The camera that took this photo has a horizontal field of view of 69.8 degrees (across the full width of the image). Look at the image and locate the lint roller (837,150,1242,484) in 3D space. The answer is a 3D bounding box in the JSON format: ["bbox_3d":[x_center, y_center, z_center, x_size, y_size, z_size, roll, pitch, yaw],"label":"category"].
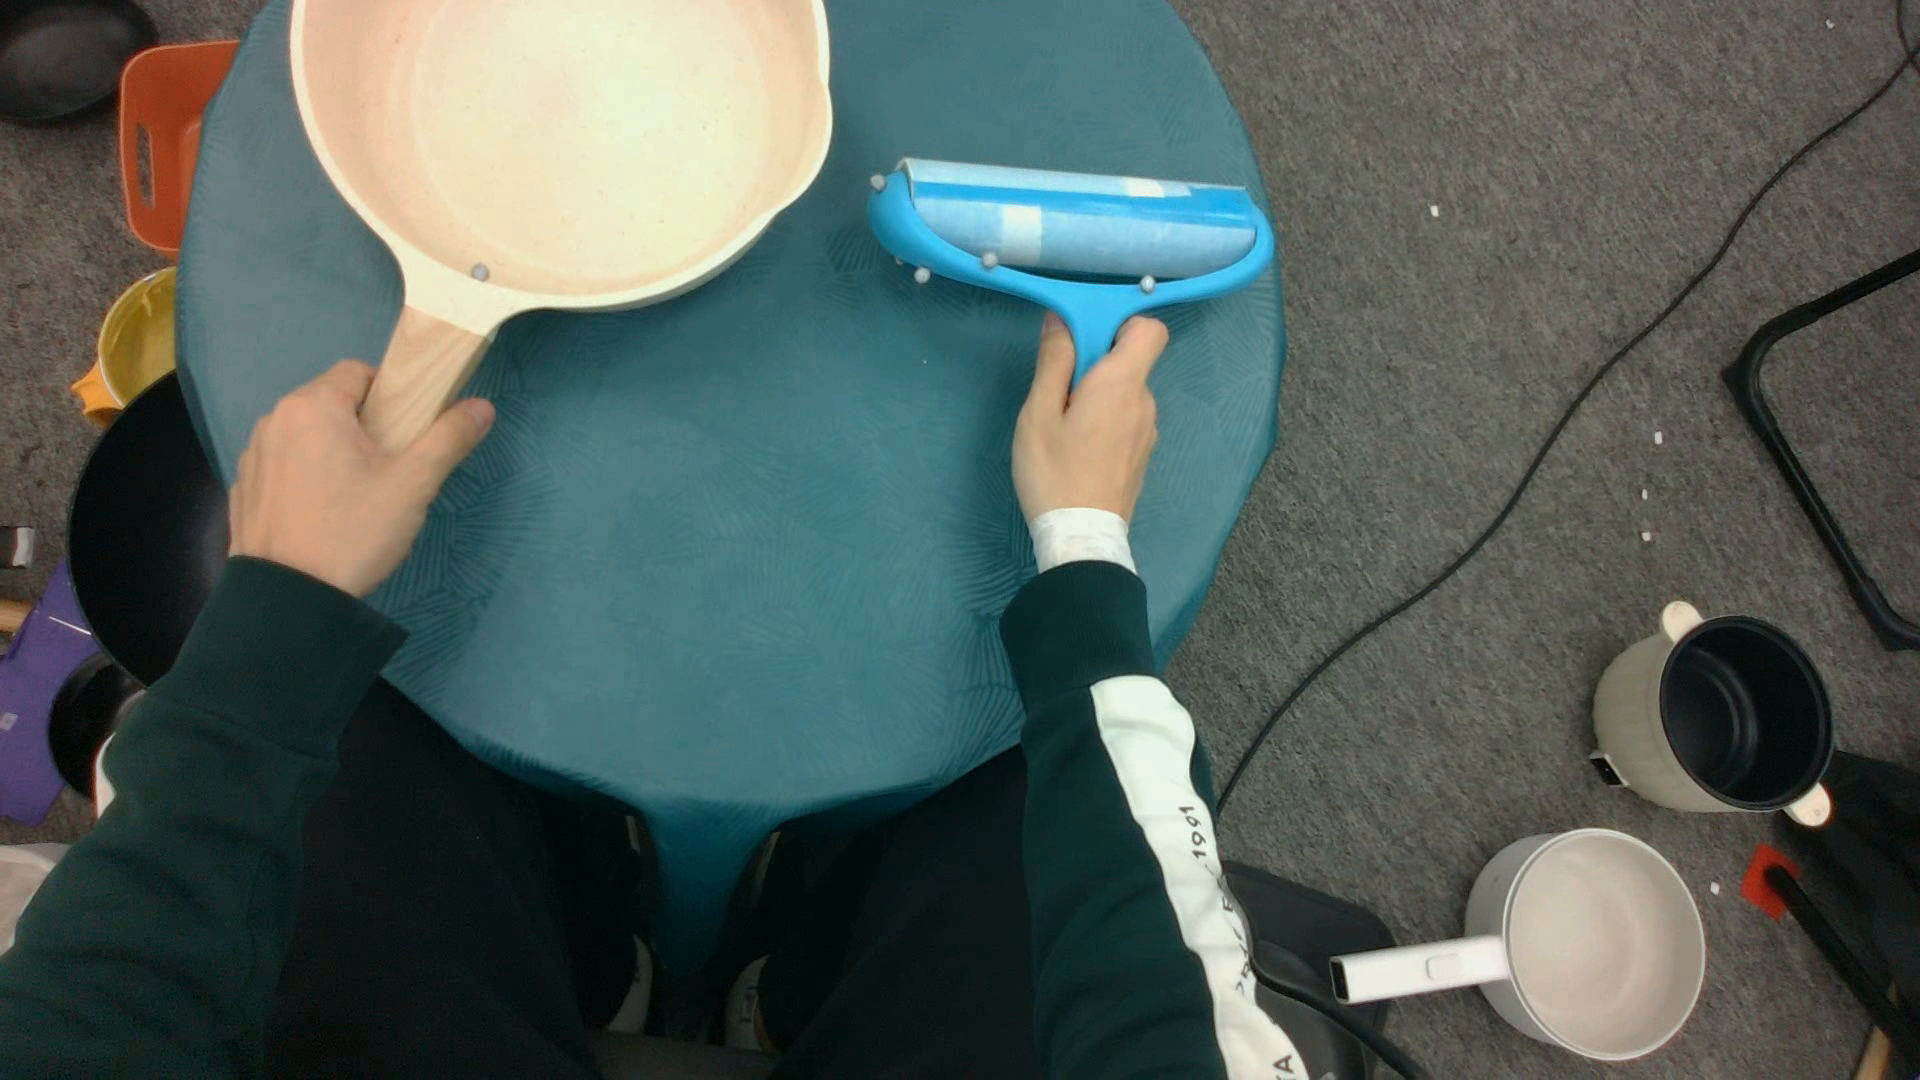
[{"bbox_3d":[0.053,-0.125,0.747,0.229,0.068,0.180,-4,80,-17],"label":"lint roller"}]

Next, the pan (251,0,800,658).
[{"bbox_3d":[-0.239,-0.152,0.681,0.263,0.102,0.435,20,85,-7],"label":"pan"}]
